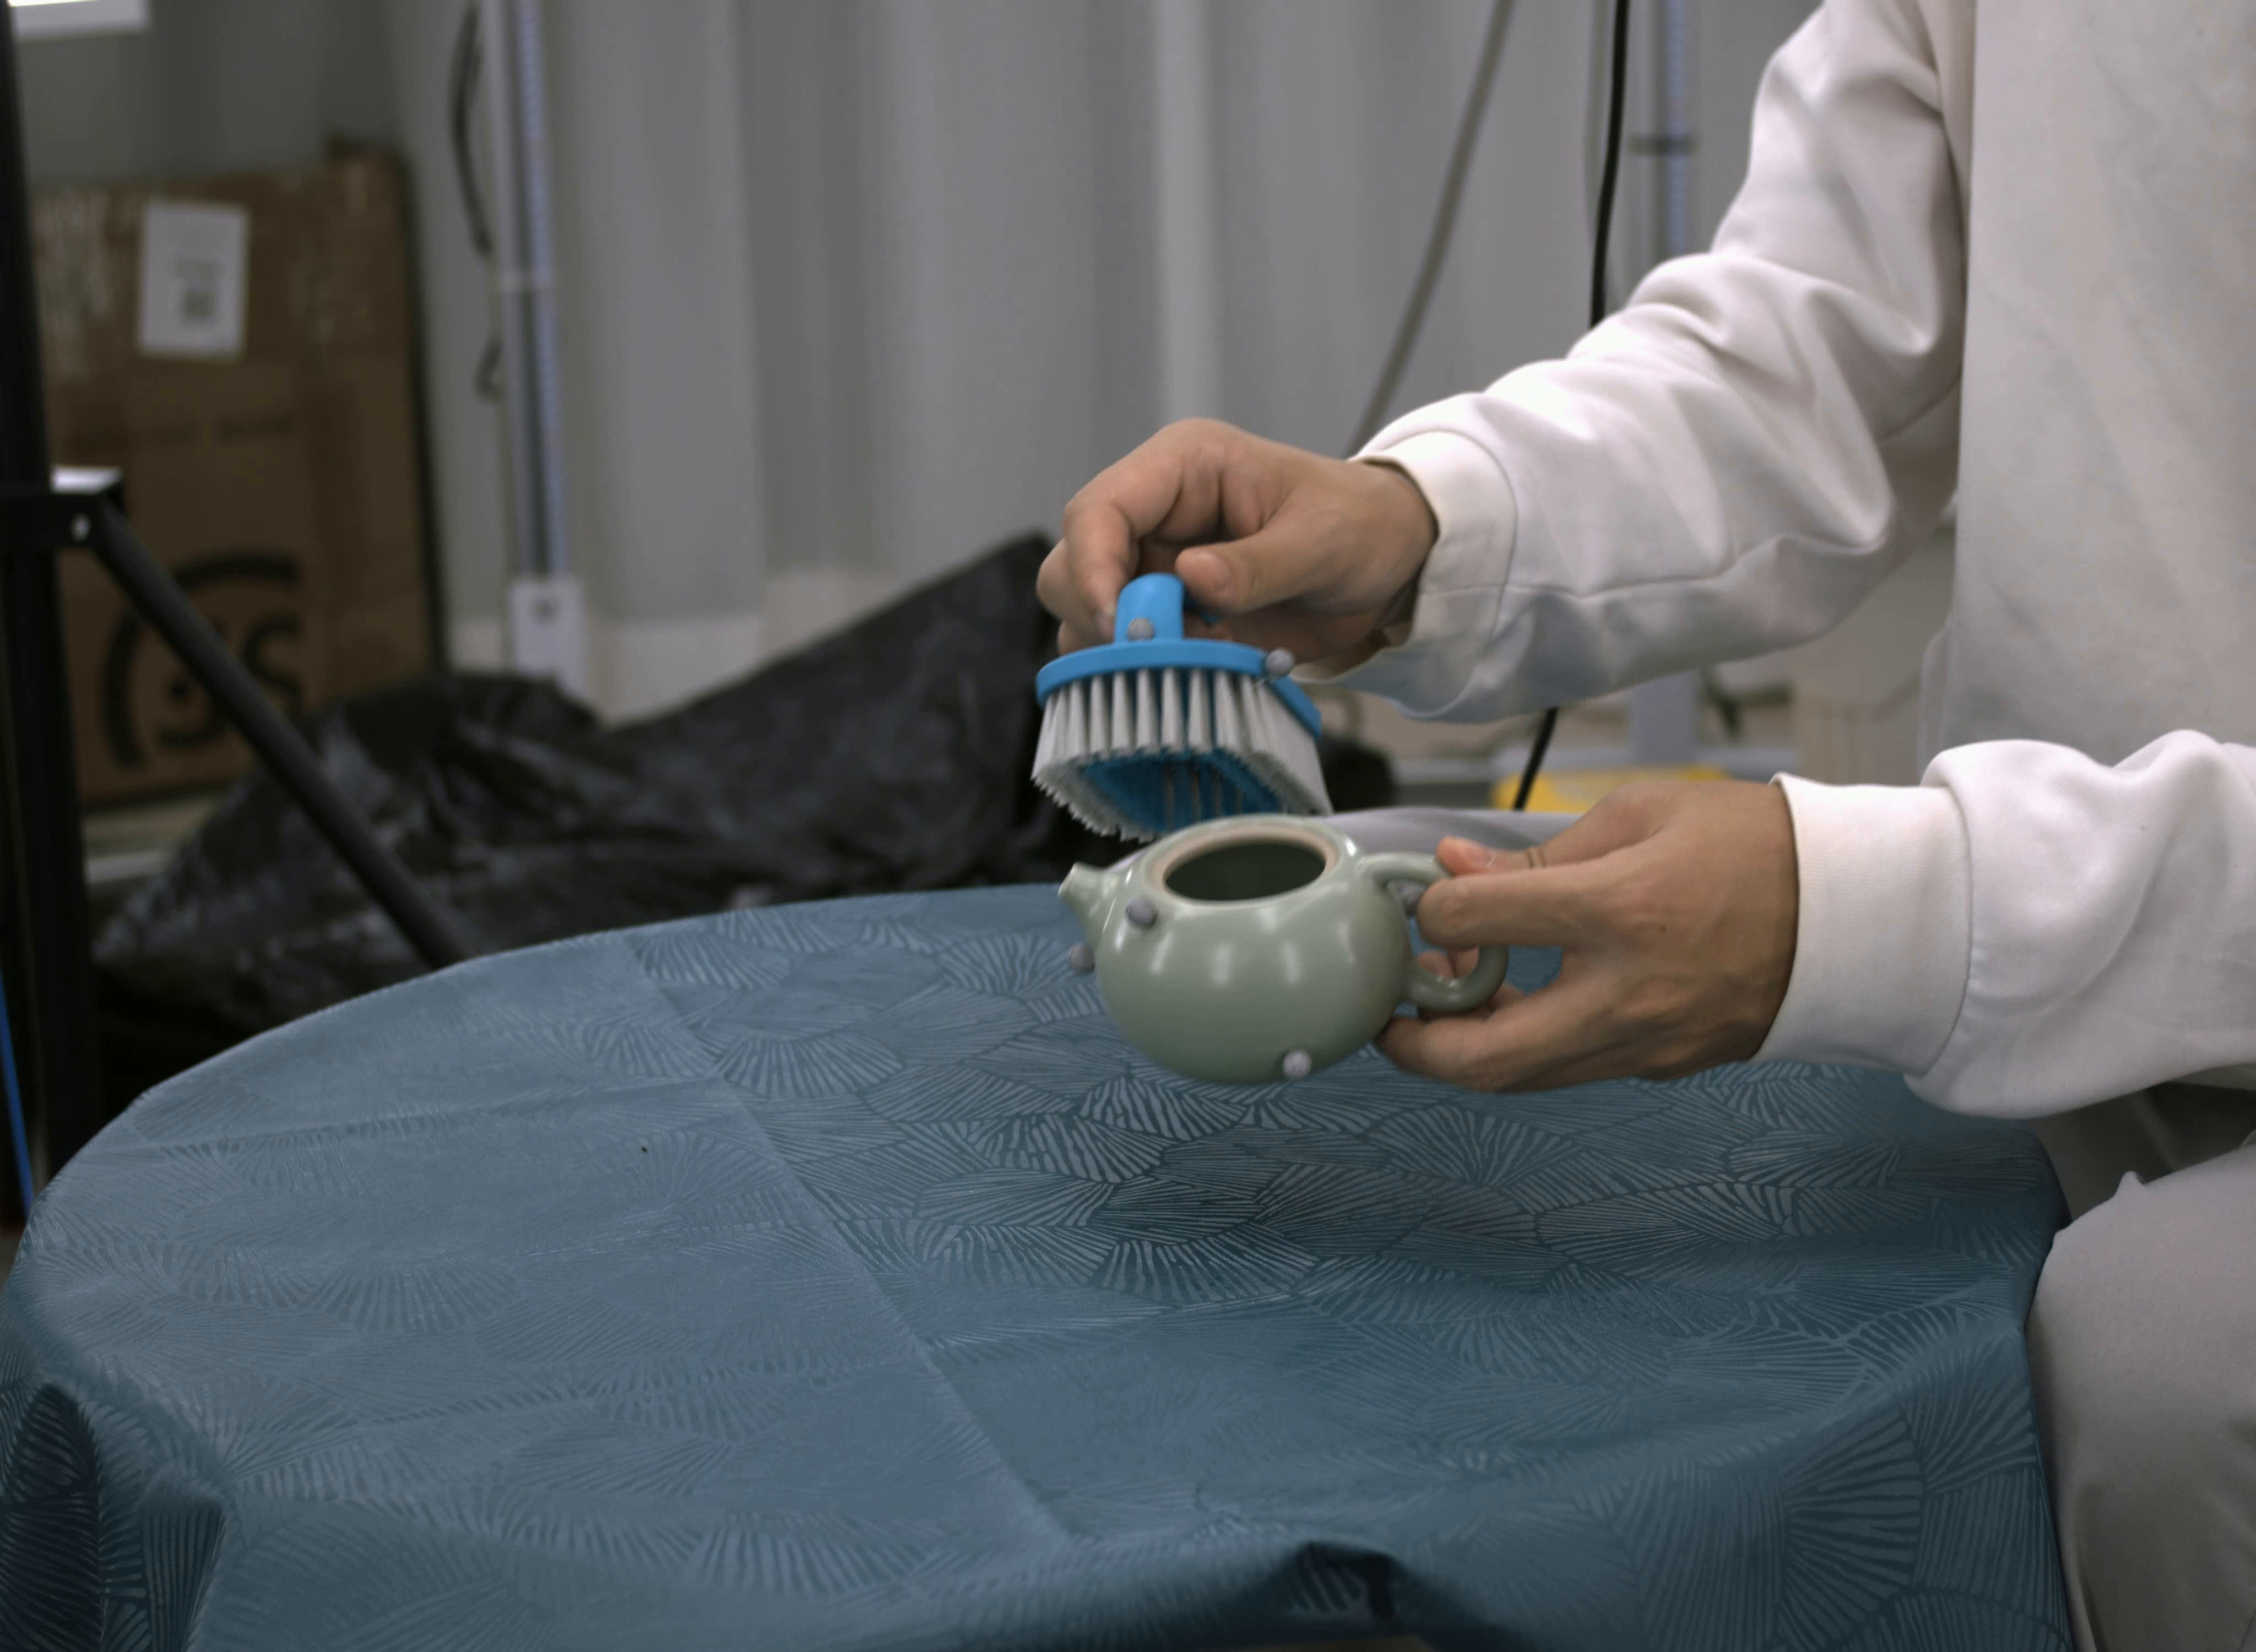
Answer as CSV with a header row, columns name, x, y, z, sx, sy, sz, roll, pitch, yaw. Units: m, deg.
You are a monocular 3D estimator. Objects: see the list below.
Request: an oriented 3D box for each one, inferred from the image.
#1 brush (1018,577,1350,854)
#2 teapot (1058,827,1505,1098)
name,x,y,z,sx,sy,sz,roll,pitch,yaw
brush,0.015,-0.037,1.615,0.085,0.064,0.139,-11,-16,14
teapot,0.045,0.040,1.522,0.129,0.061,0.091,-1,22,16
